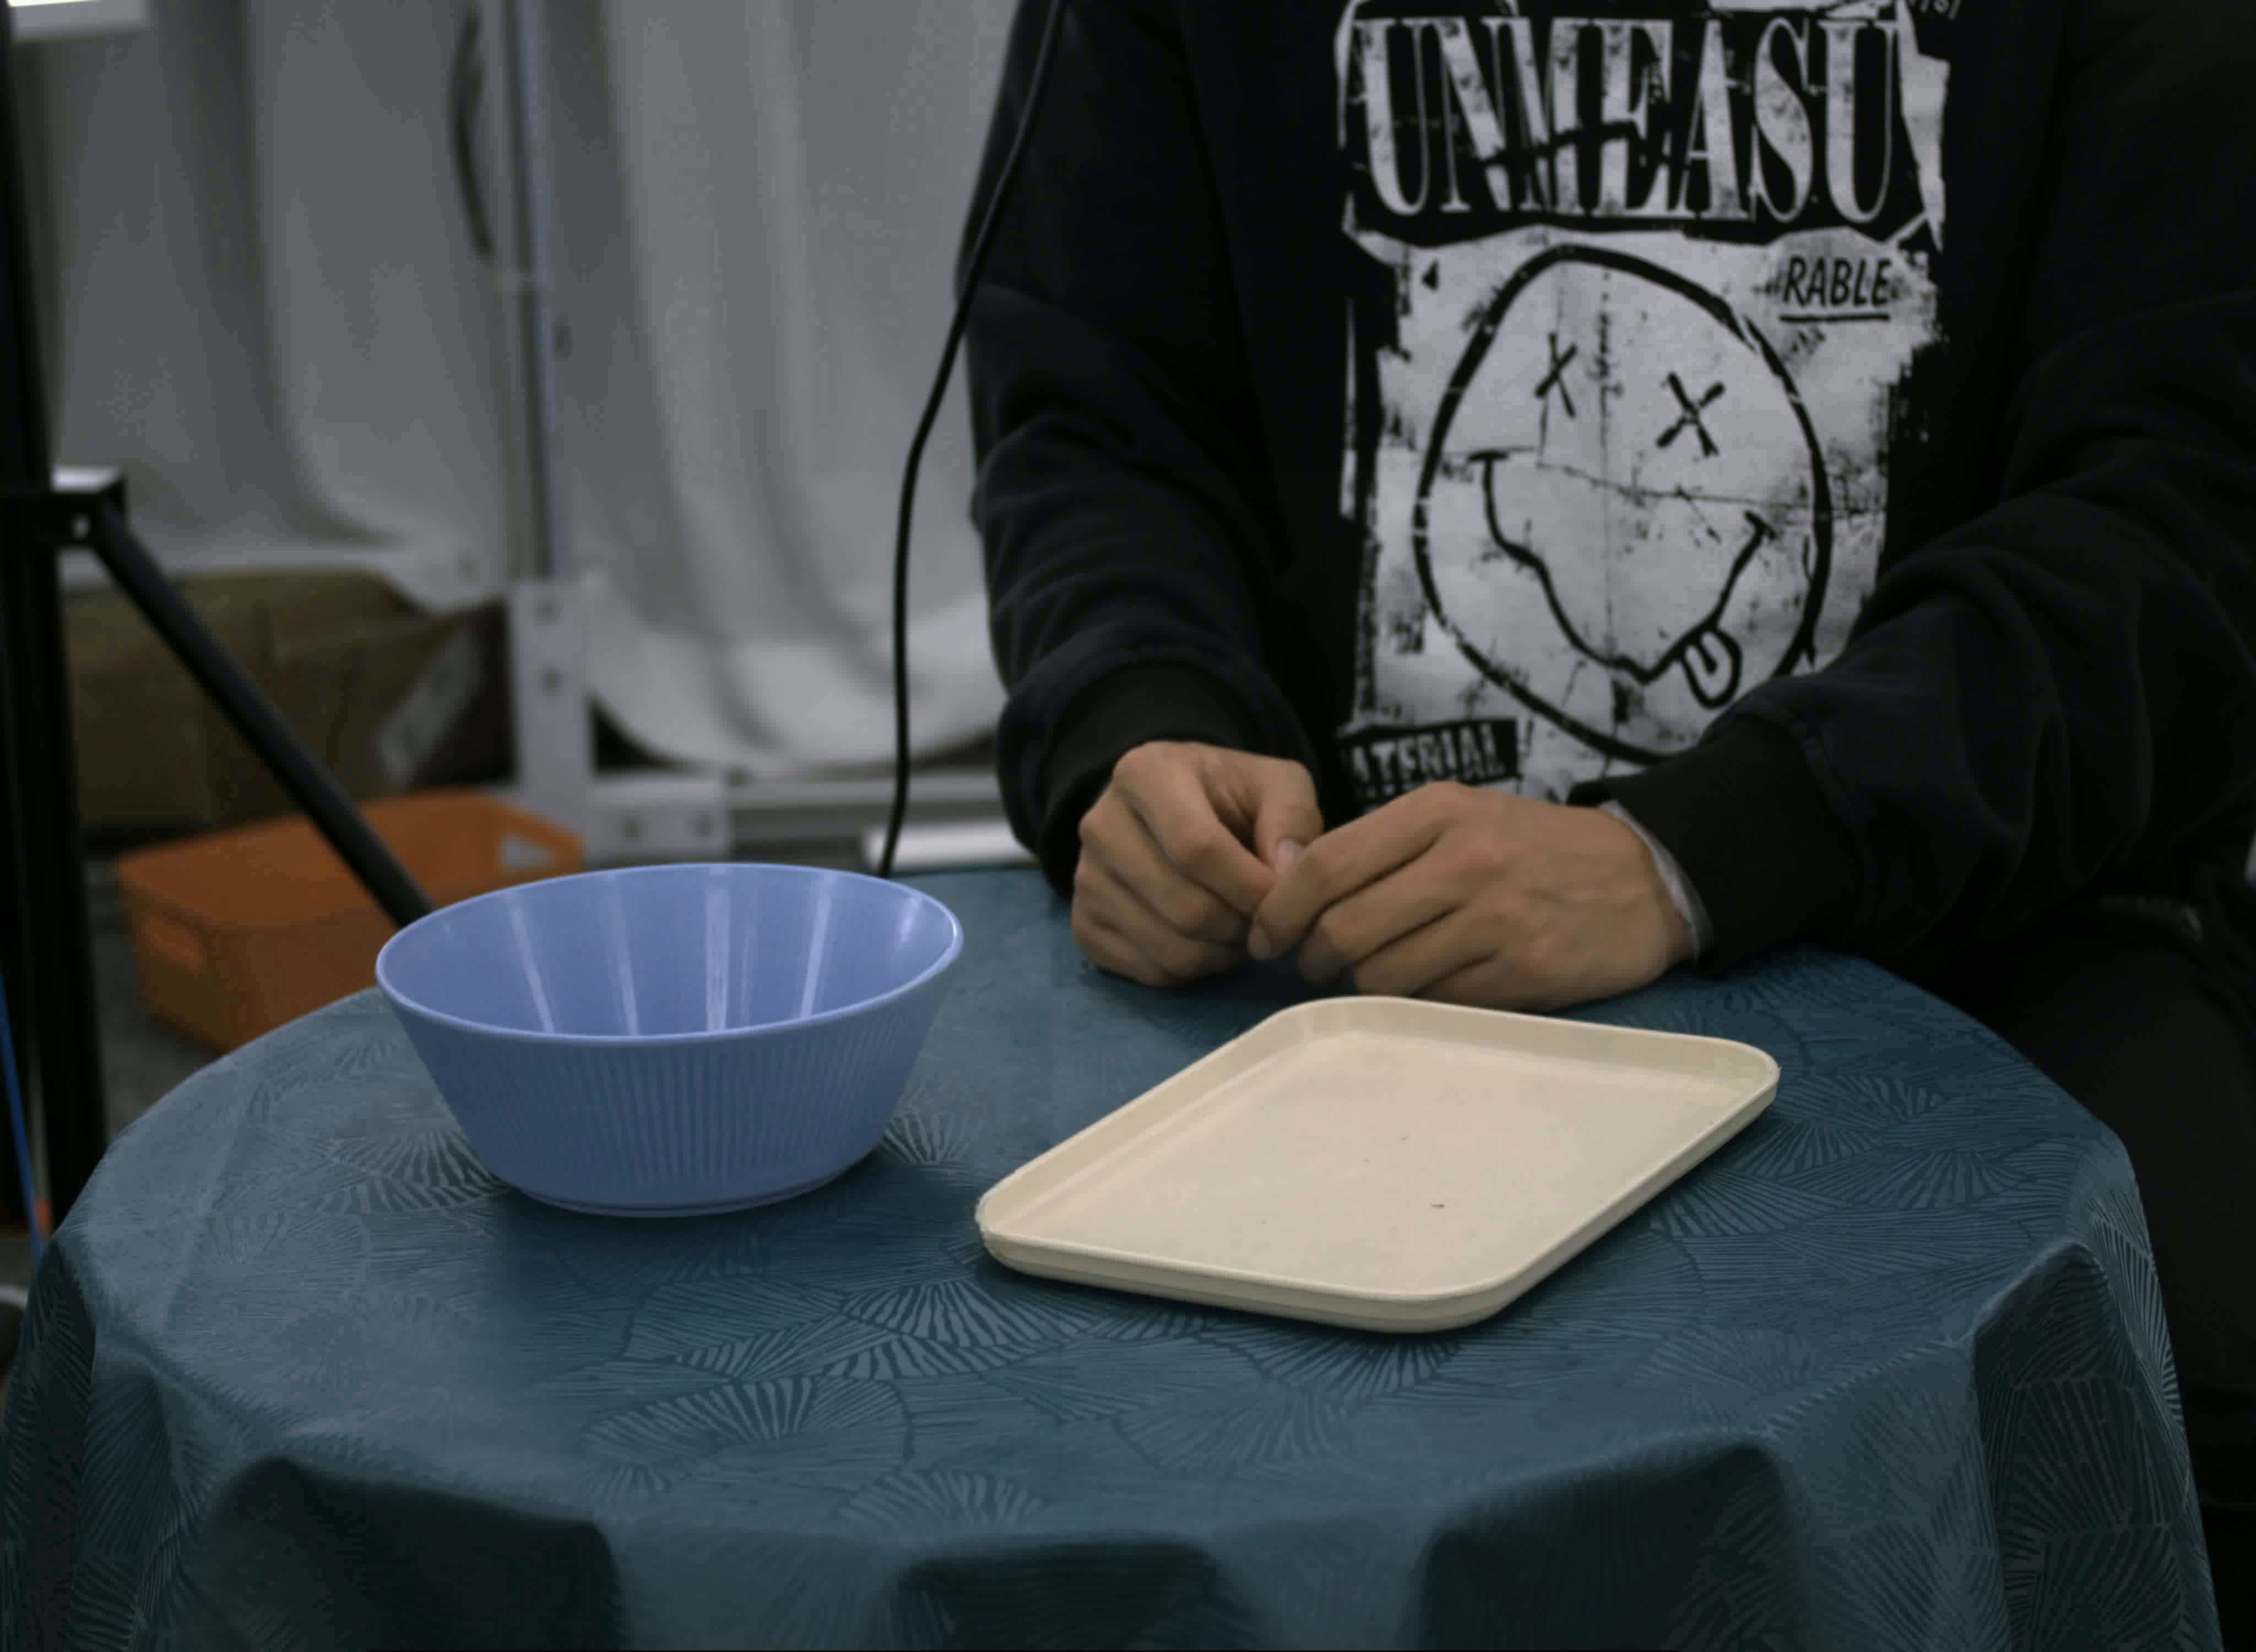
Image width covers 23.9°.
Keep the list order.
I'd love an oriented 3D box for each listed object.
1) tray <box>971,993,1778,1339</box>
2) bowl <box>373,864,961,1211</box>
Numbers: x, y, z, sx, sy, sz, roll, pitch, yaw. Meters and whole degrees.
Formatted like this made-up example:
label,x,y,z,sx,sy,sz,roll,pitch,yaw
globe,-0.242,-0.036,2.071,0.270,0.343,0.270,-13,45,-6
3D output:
label,x,y,z,sx,sy,sz,roll,pitch,yaw
tray,0.076,0.098,1.549,0.174,0.017,0.235,7,19,30
bowl,-0.137,0.066,1.600,0.175,0.070,0.177,-2,16,-1
